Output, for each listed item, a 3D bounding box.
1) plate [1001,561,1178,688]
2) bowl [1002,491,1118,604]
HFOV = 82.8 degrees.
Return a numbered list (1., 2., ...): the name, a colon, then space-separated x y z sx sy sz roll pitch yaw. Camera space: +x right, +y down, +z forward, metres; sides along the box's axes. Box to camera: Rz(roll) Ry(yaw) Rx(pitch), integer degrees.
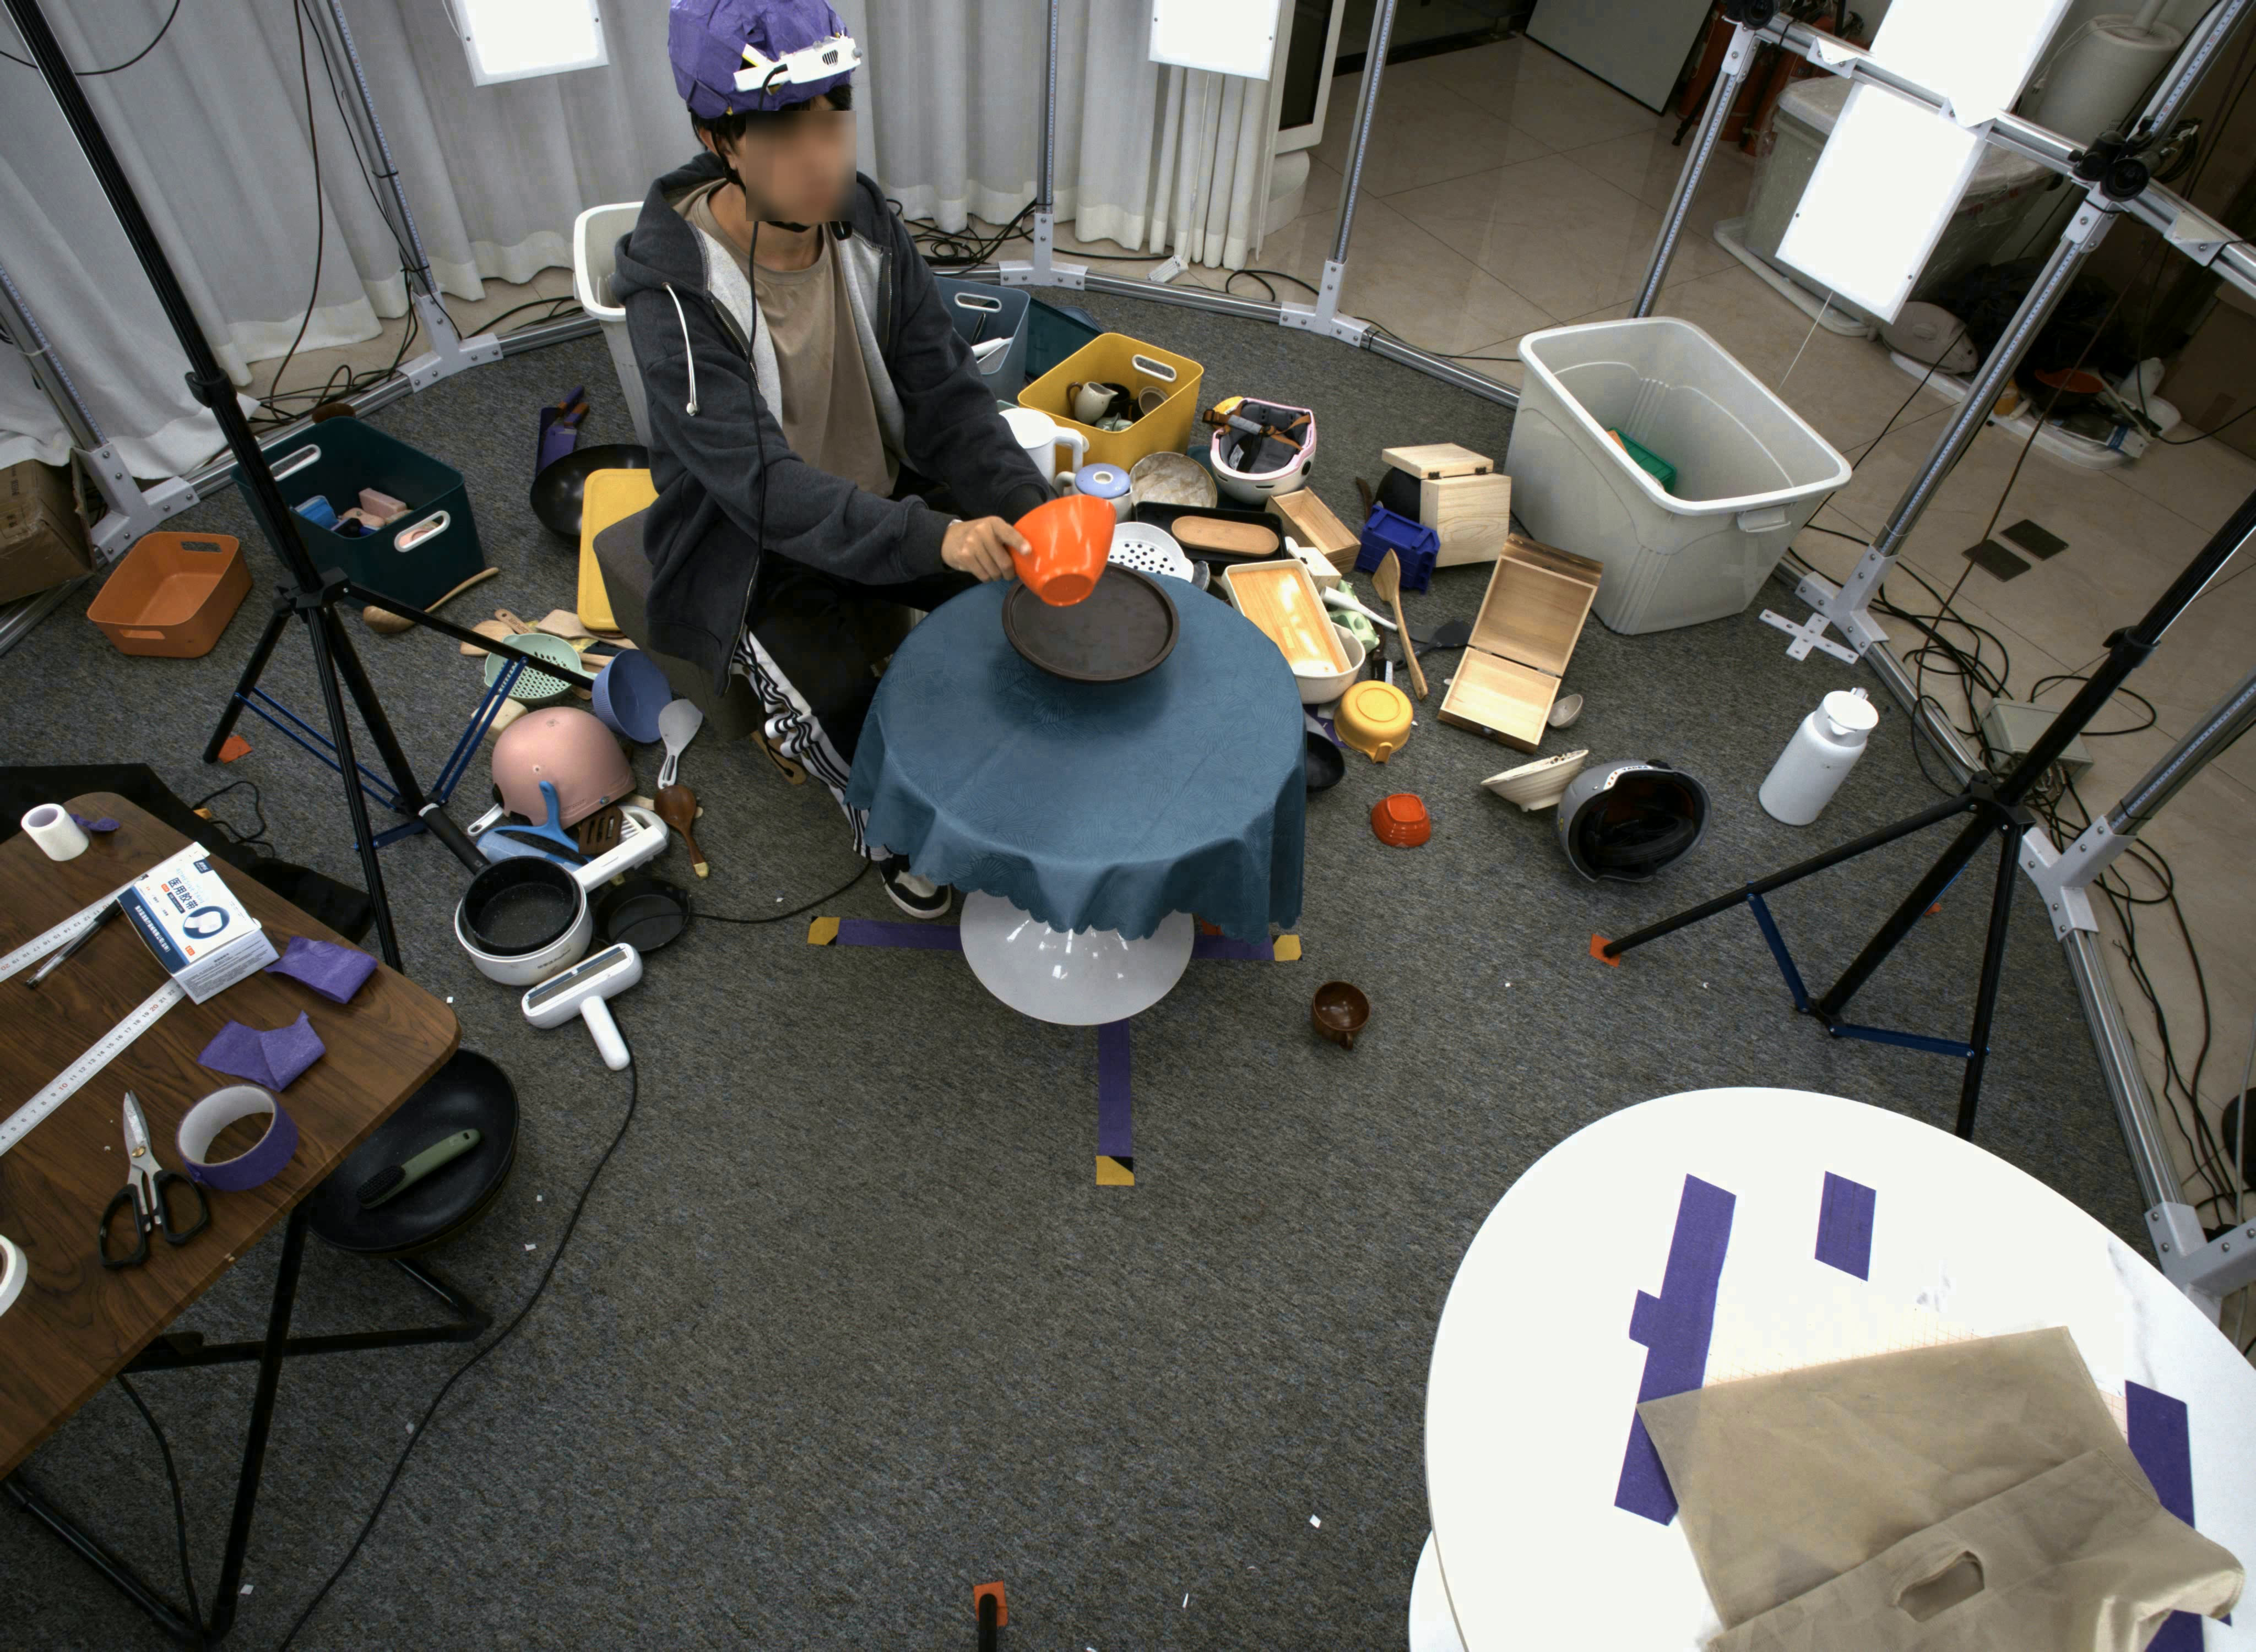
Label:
1. plate: -0.054 -0.290 1.826 0.254 0.028 0.261 3 51 -4
2. bowl: -0.075 -0.330 1.575 0.148 0.145 0.107 -7 63 -11
